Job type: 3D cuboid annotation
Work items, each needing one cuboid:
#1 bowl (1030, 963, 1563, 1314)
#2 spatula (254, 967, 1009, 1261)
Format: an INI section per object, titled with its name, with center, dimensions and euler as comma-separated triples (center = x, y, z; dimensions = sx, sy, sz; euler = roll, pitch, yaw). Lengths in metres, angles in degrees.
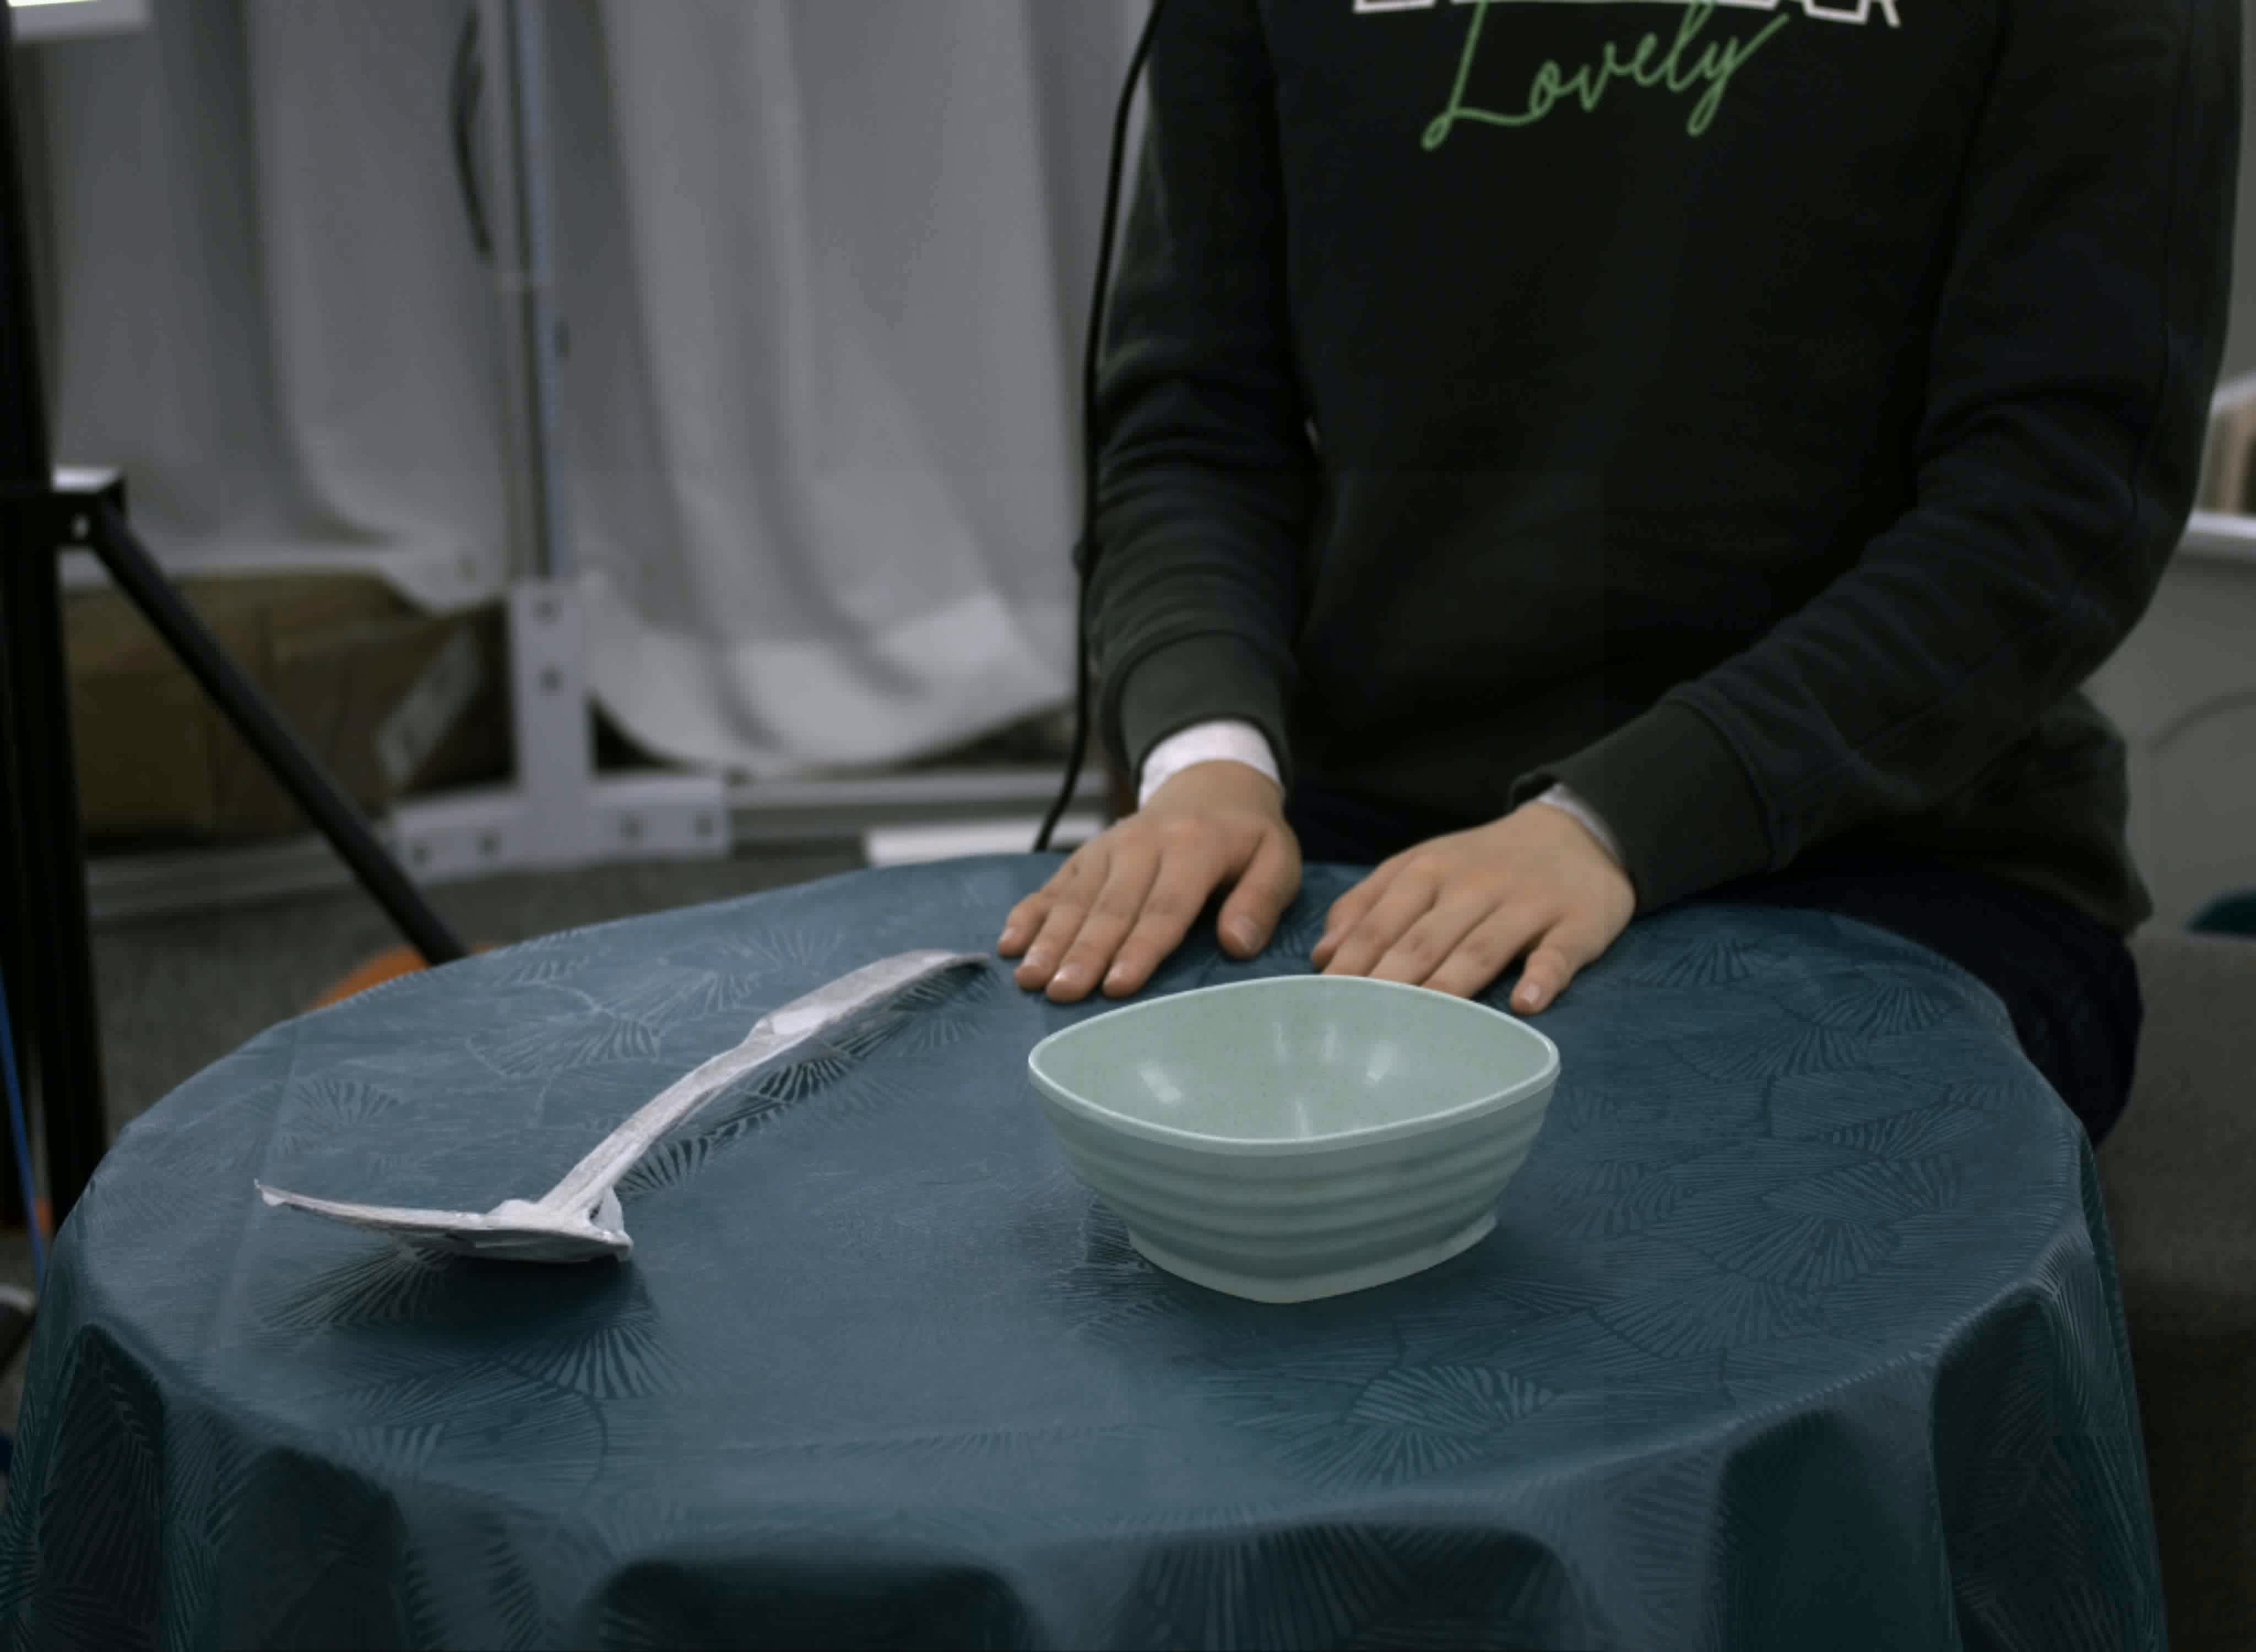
[bowl]
center = 0.048, 0.092, 1.503
dimensions = 0.150, 0.058, 0.152
euler = -2, 19, -1
[spatula]
center = -0.129, 0.077, 1.617
dimensions = 0.100, 0.045, 0.359
euler = 3, 17, 26
